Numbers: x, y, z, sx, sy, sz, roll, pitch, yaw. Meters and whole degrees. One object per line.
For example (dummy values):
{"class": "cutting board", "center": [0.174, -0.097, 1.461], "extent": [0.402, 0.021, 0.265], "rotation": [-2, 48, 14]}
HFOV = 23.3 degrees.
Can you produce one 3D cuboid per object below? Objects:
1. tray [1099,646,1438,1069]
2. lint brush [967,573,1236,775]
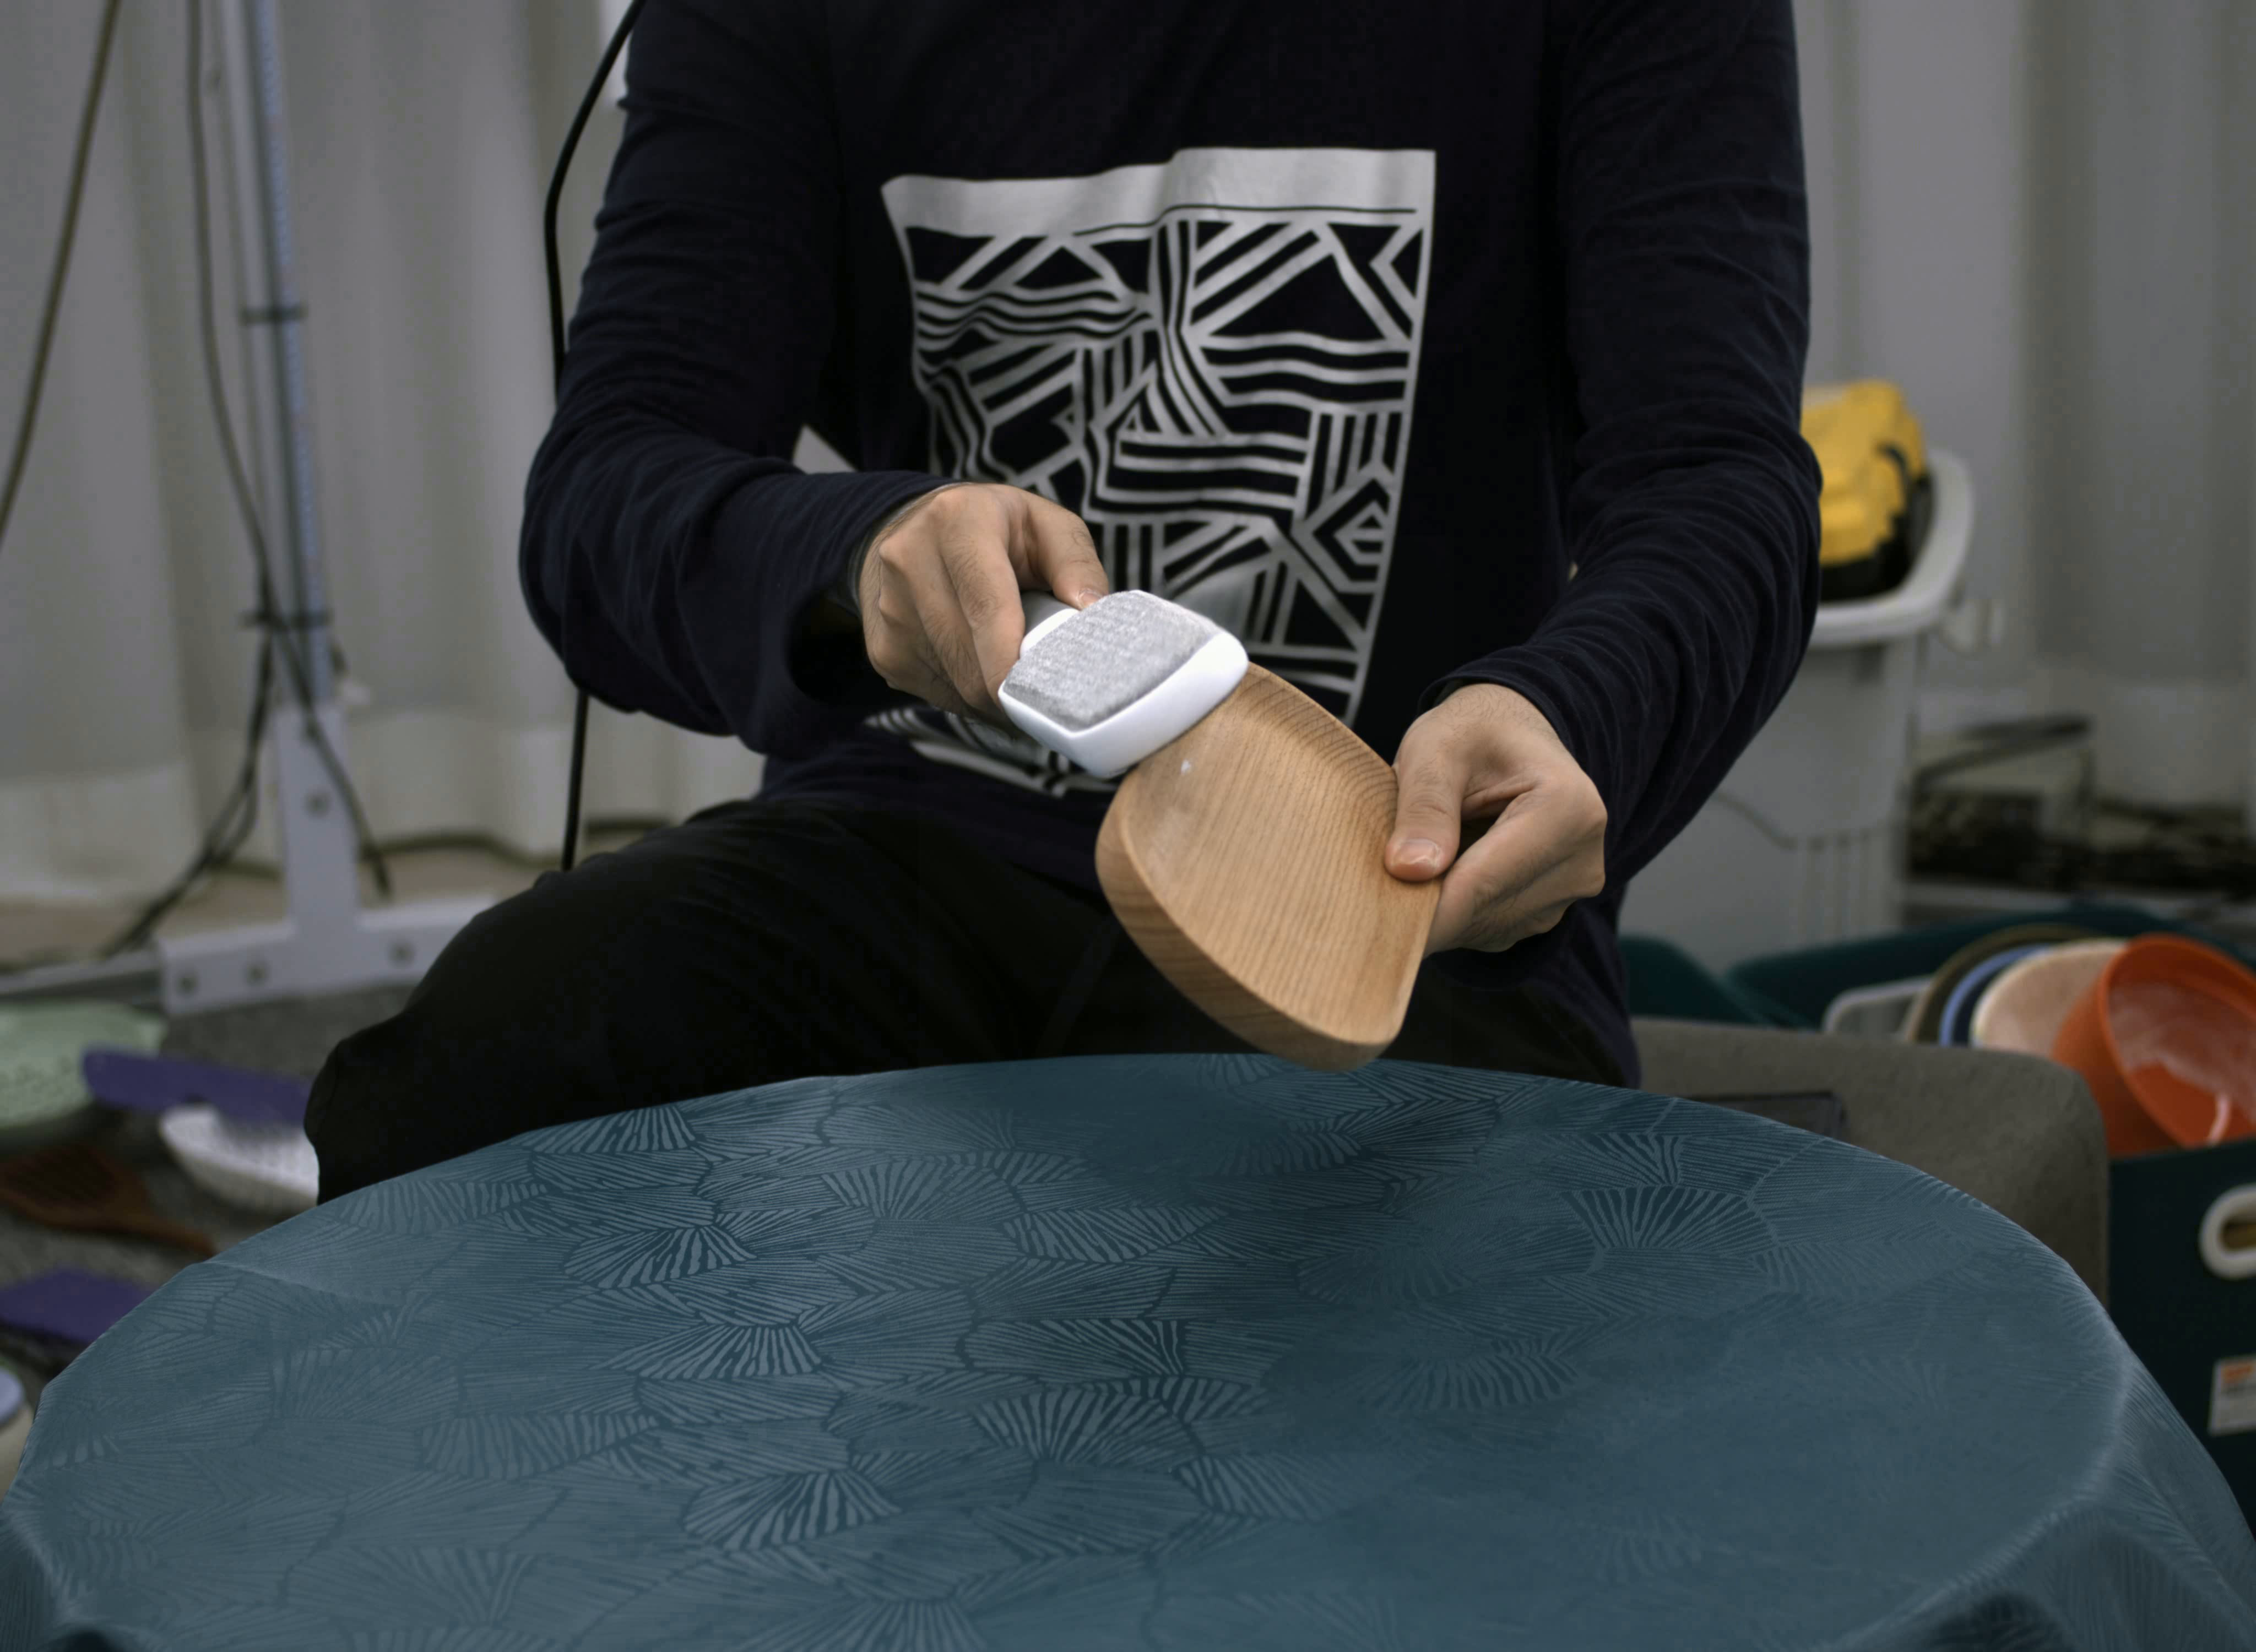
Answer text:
{"class": "tray", "center": [0.041, 0.006, 1.570], "extent": [0.101, 0.020, 0.233], "rotation": [40, 19, -7]}
{"class": "lint brush", "center": [-0.015, -0.053, 1.665], "extent": [0.060, 0.021, 0.310], "rotation": [-41, 12, -3]}
